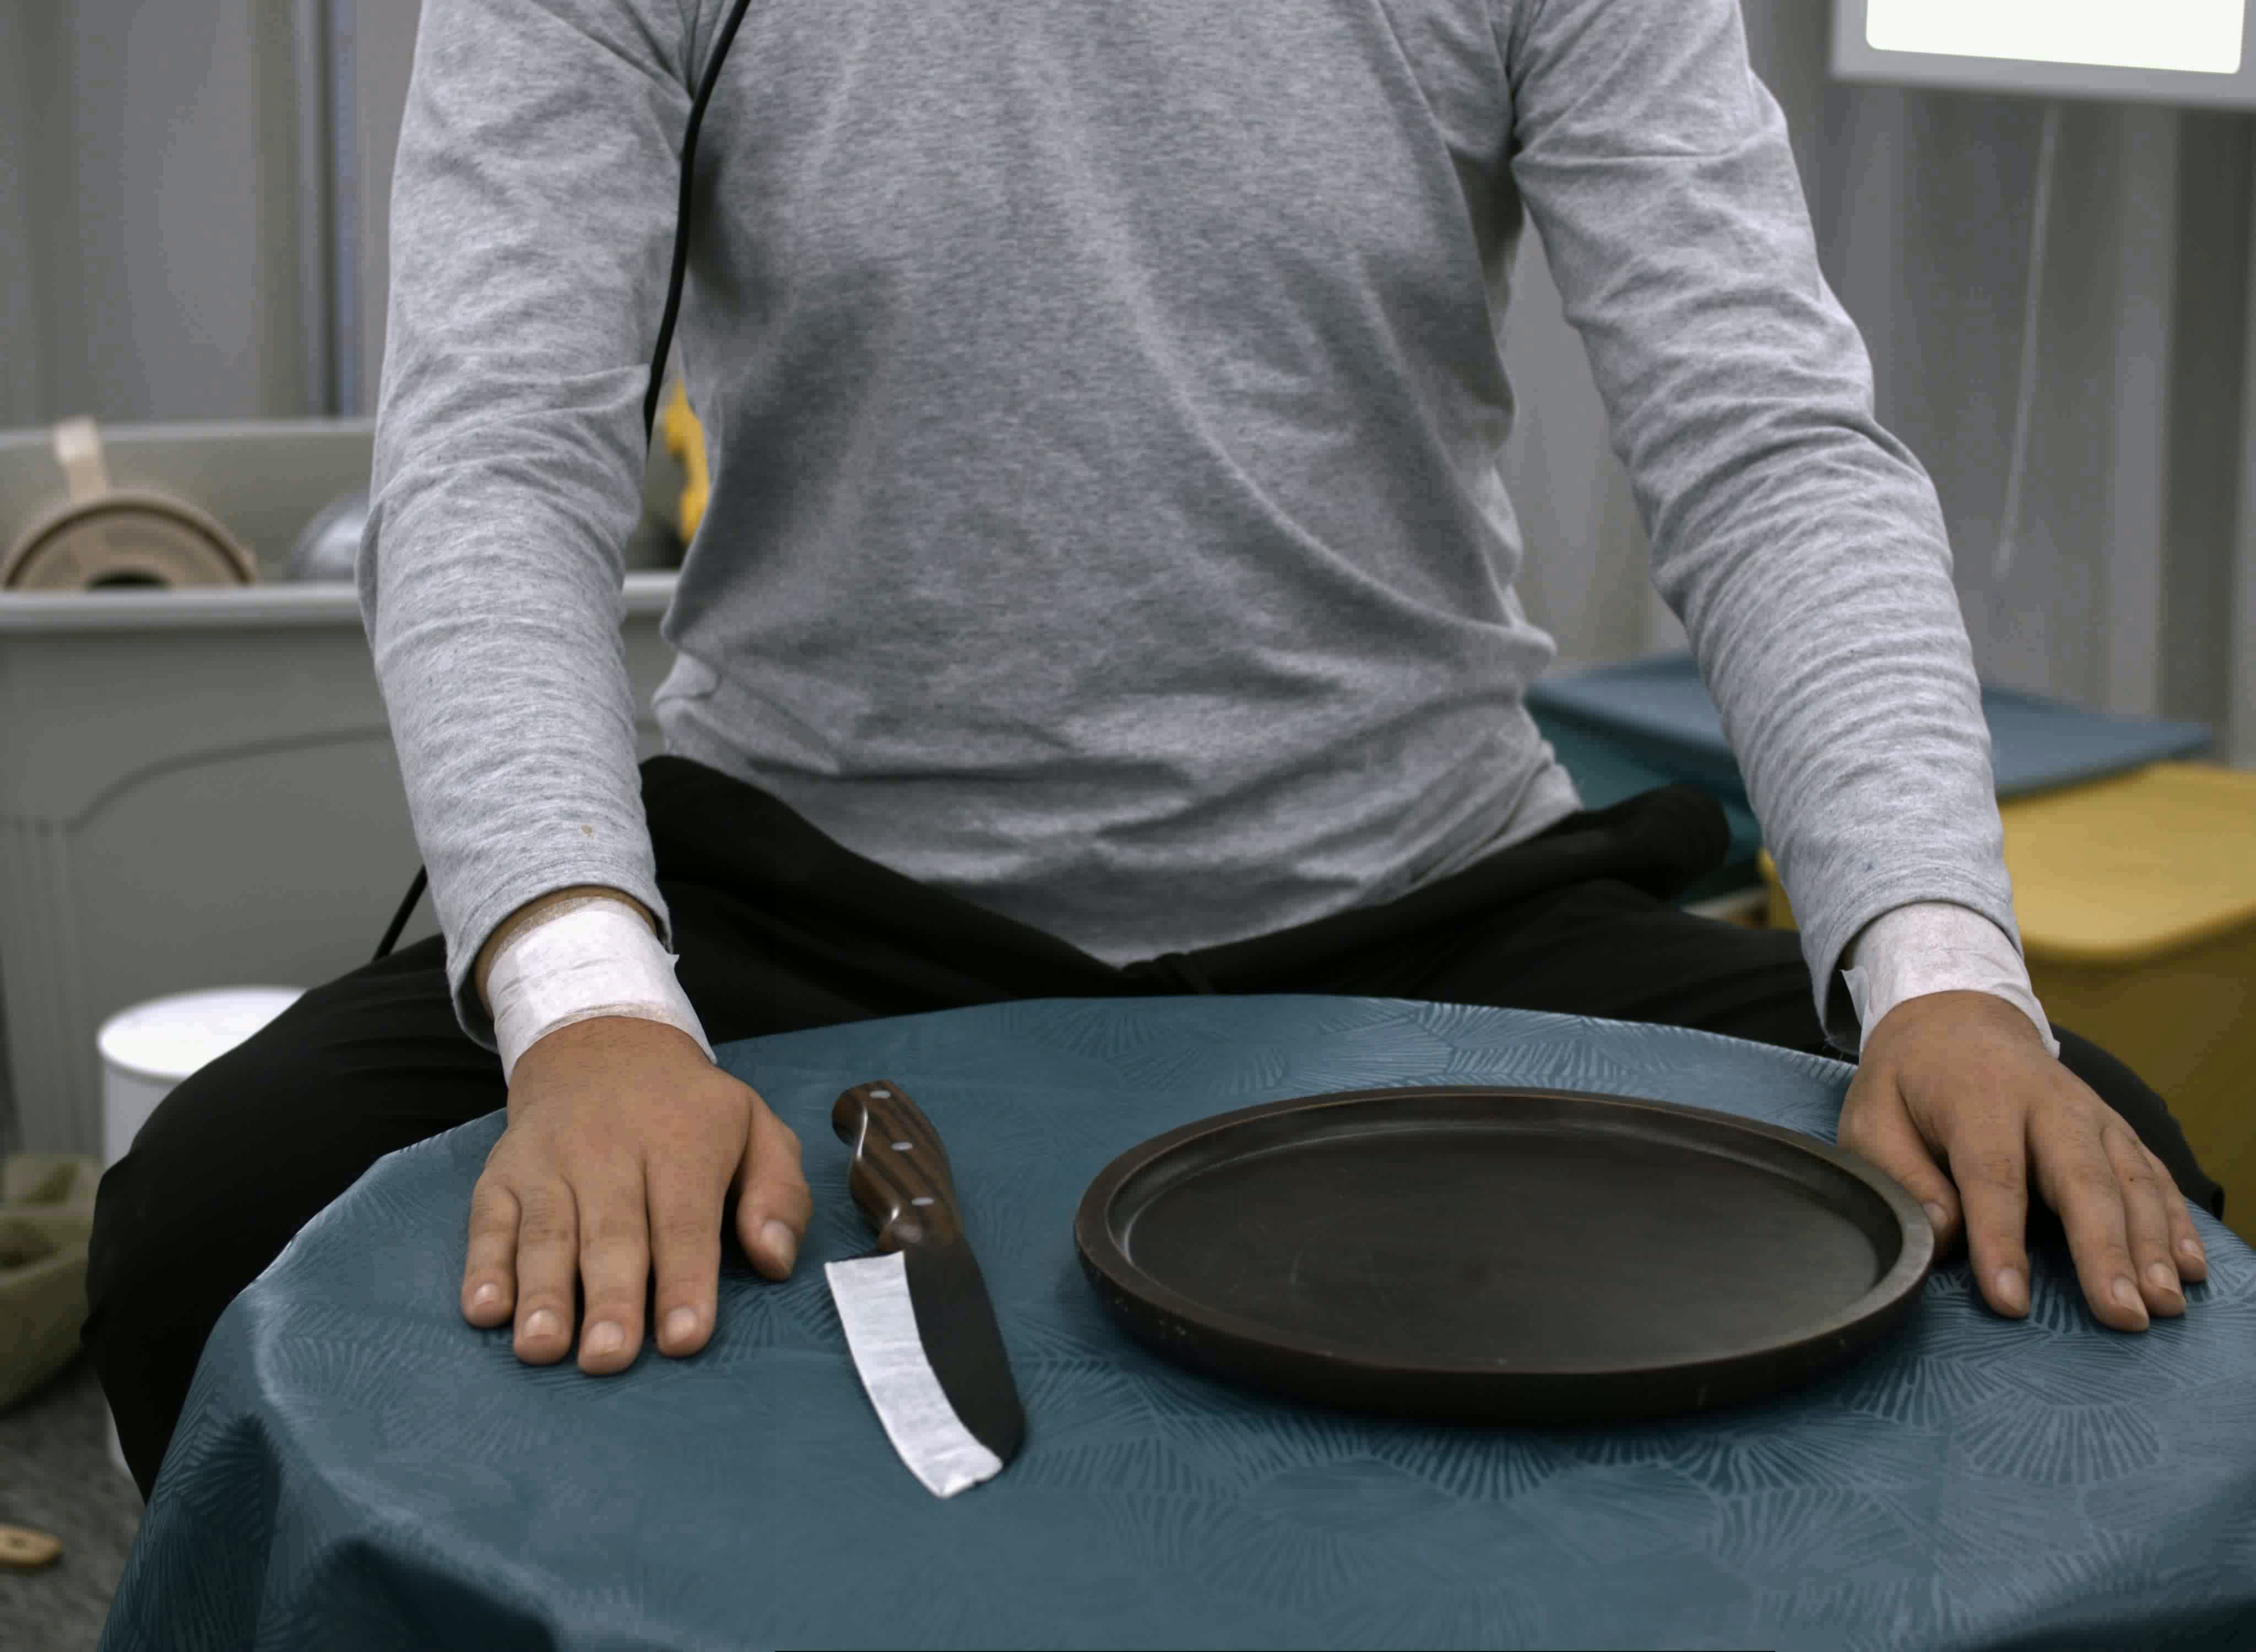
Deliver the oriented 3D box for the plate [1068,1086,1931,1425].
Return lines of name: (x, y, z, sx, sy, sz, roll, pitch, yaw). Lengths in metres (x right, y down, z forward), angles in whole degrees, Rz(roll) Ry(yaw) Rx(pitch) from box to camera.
plate: (0.108, 0.123, 1.543, 0.254, 0.029, 0.253, -1, 15, 1)

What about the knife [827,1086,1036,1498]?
knife: (-0.062, 0.133, 1.521, 0.050, 0.020, 0.287, -6, 18, -5)
